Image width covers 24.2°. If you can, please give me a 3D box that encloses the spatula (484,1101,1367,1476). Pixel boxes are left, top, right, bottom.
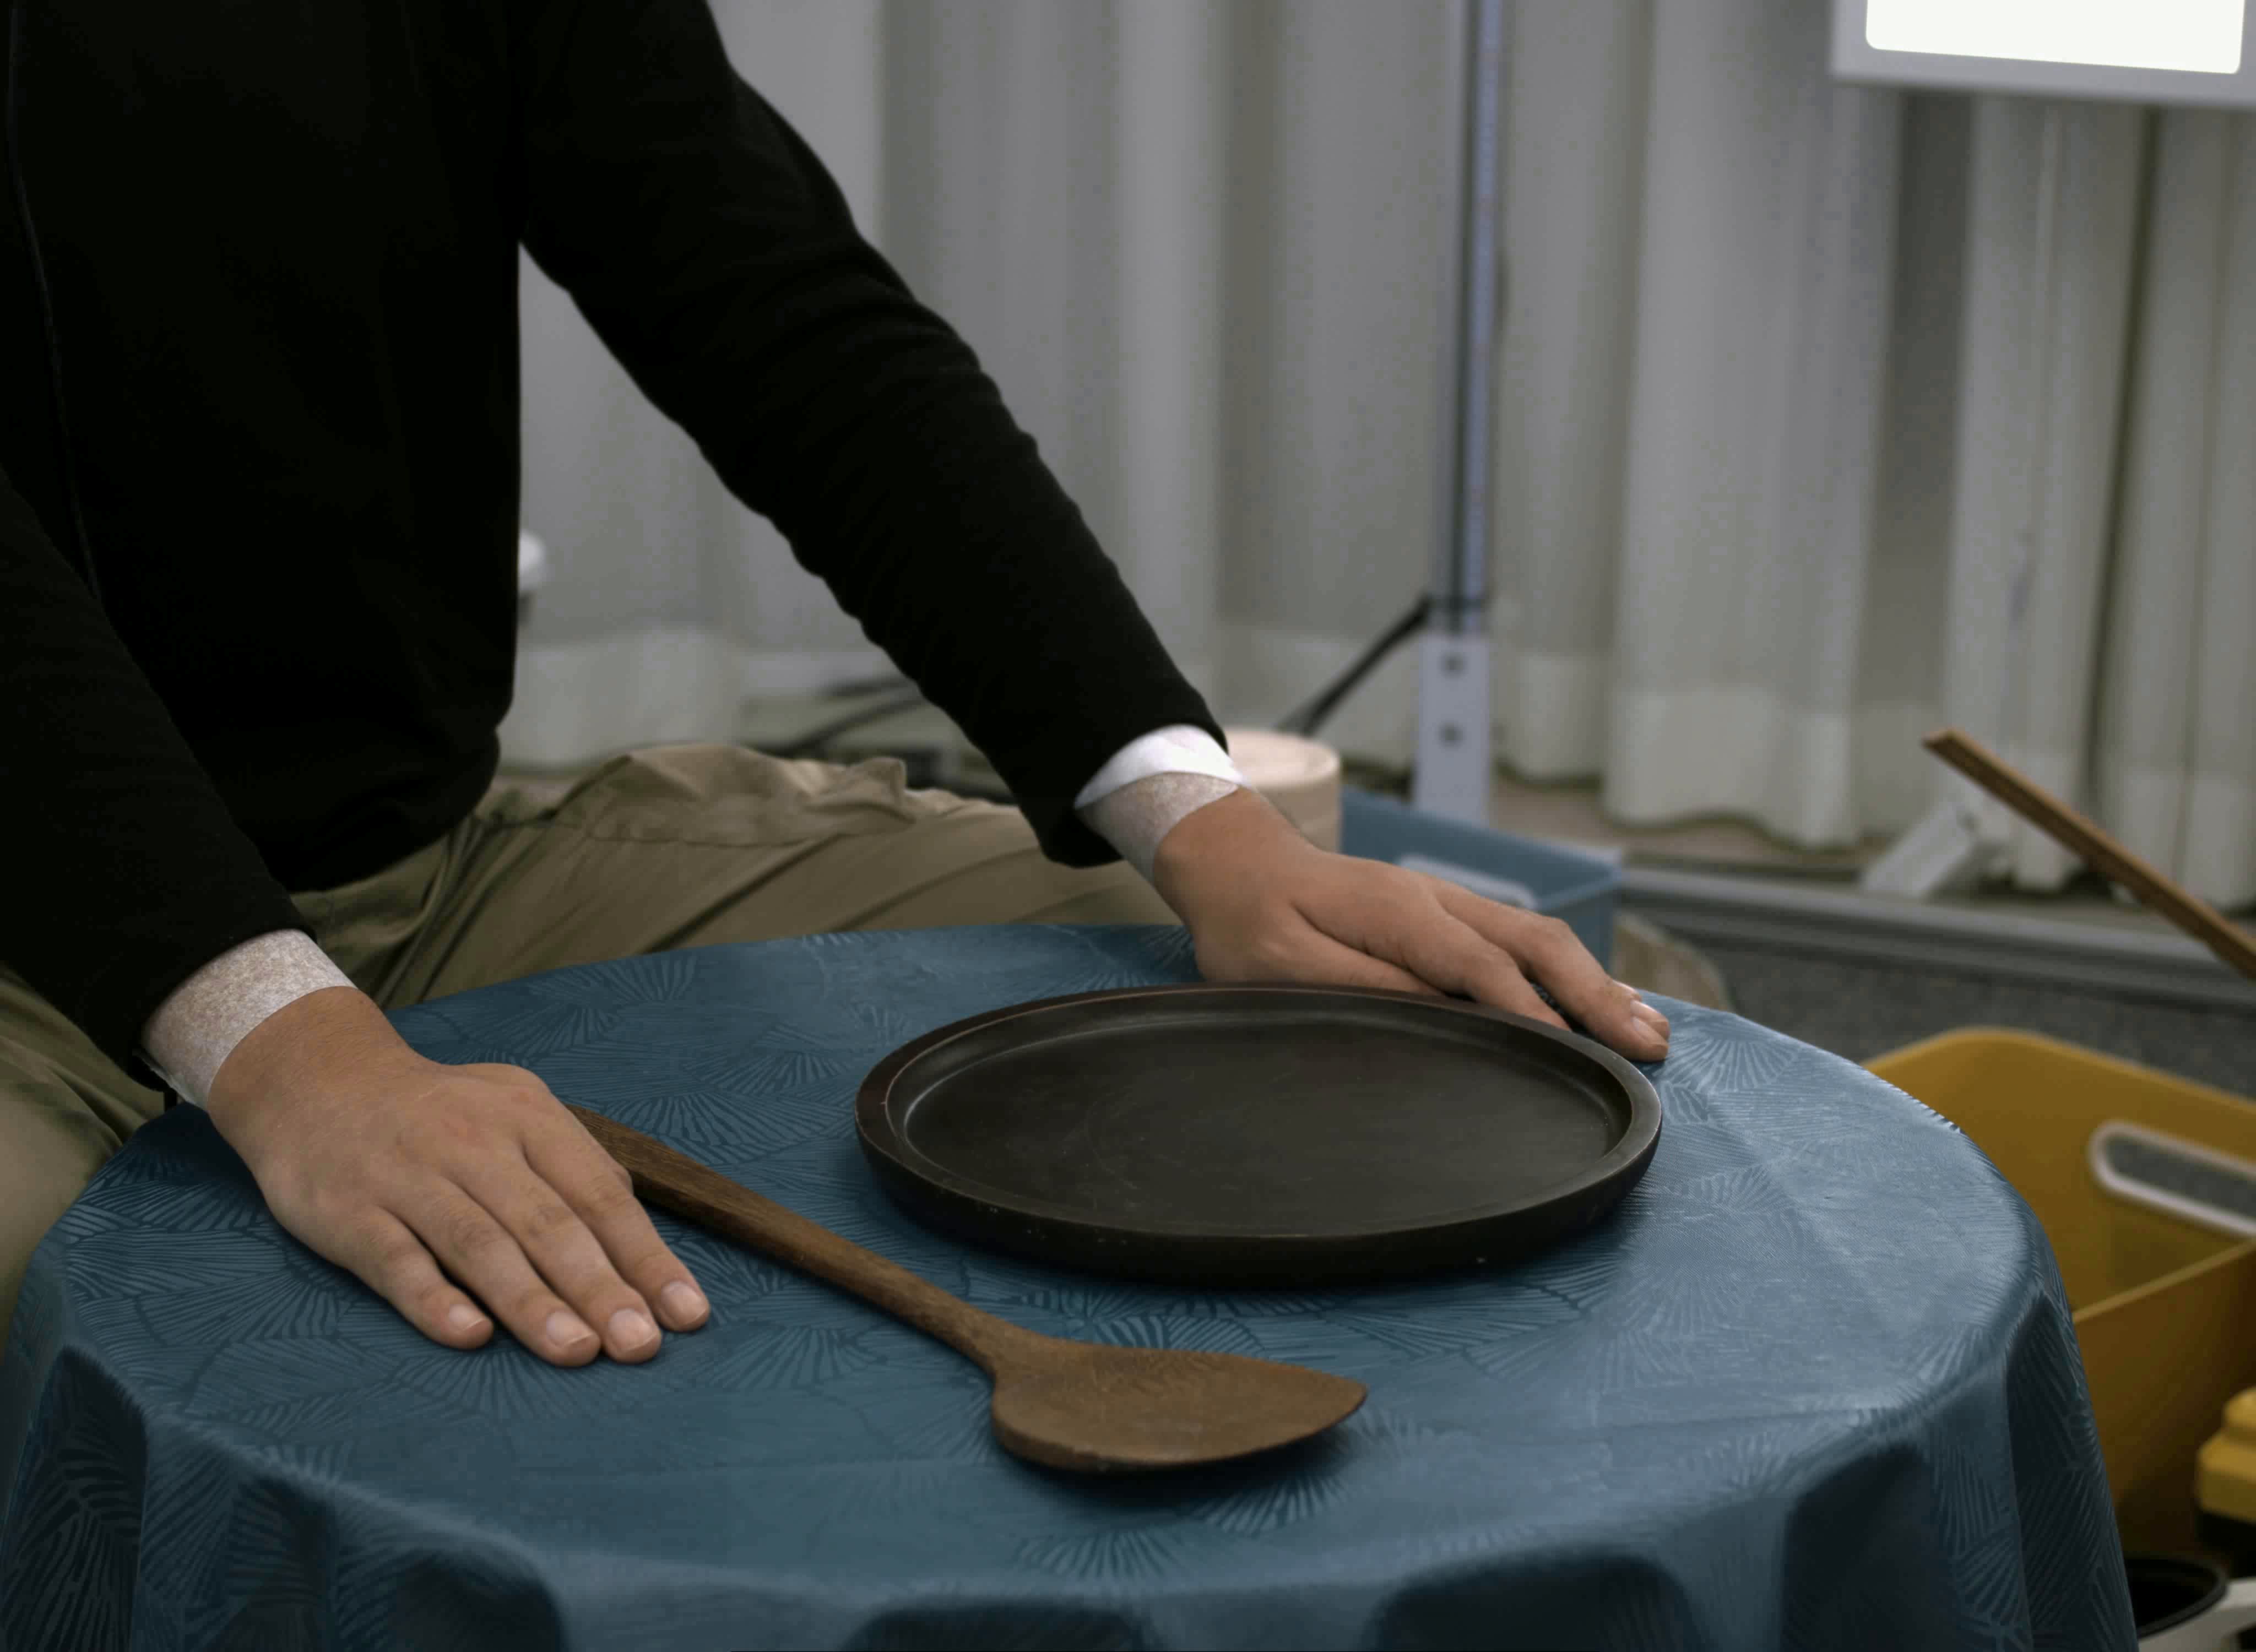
[{"bbox_3d":[-0.081,0.128,1.532,0.096,0.016,0.381,-11,19,-37],"label":"spatula"}]

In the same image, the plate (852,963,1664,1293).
[{"bbox_3d":[0.040,0.094,1.642,0.254,0.029,0.253,-1,16,1],"label":"plate"}]
